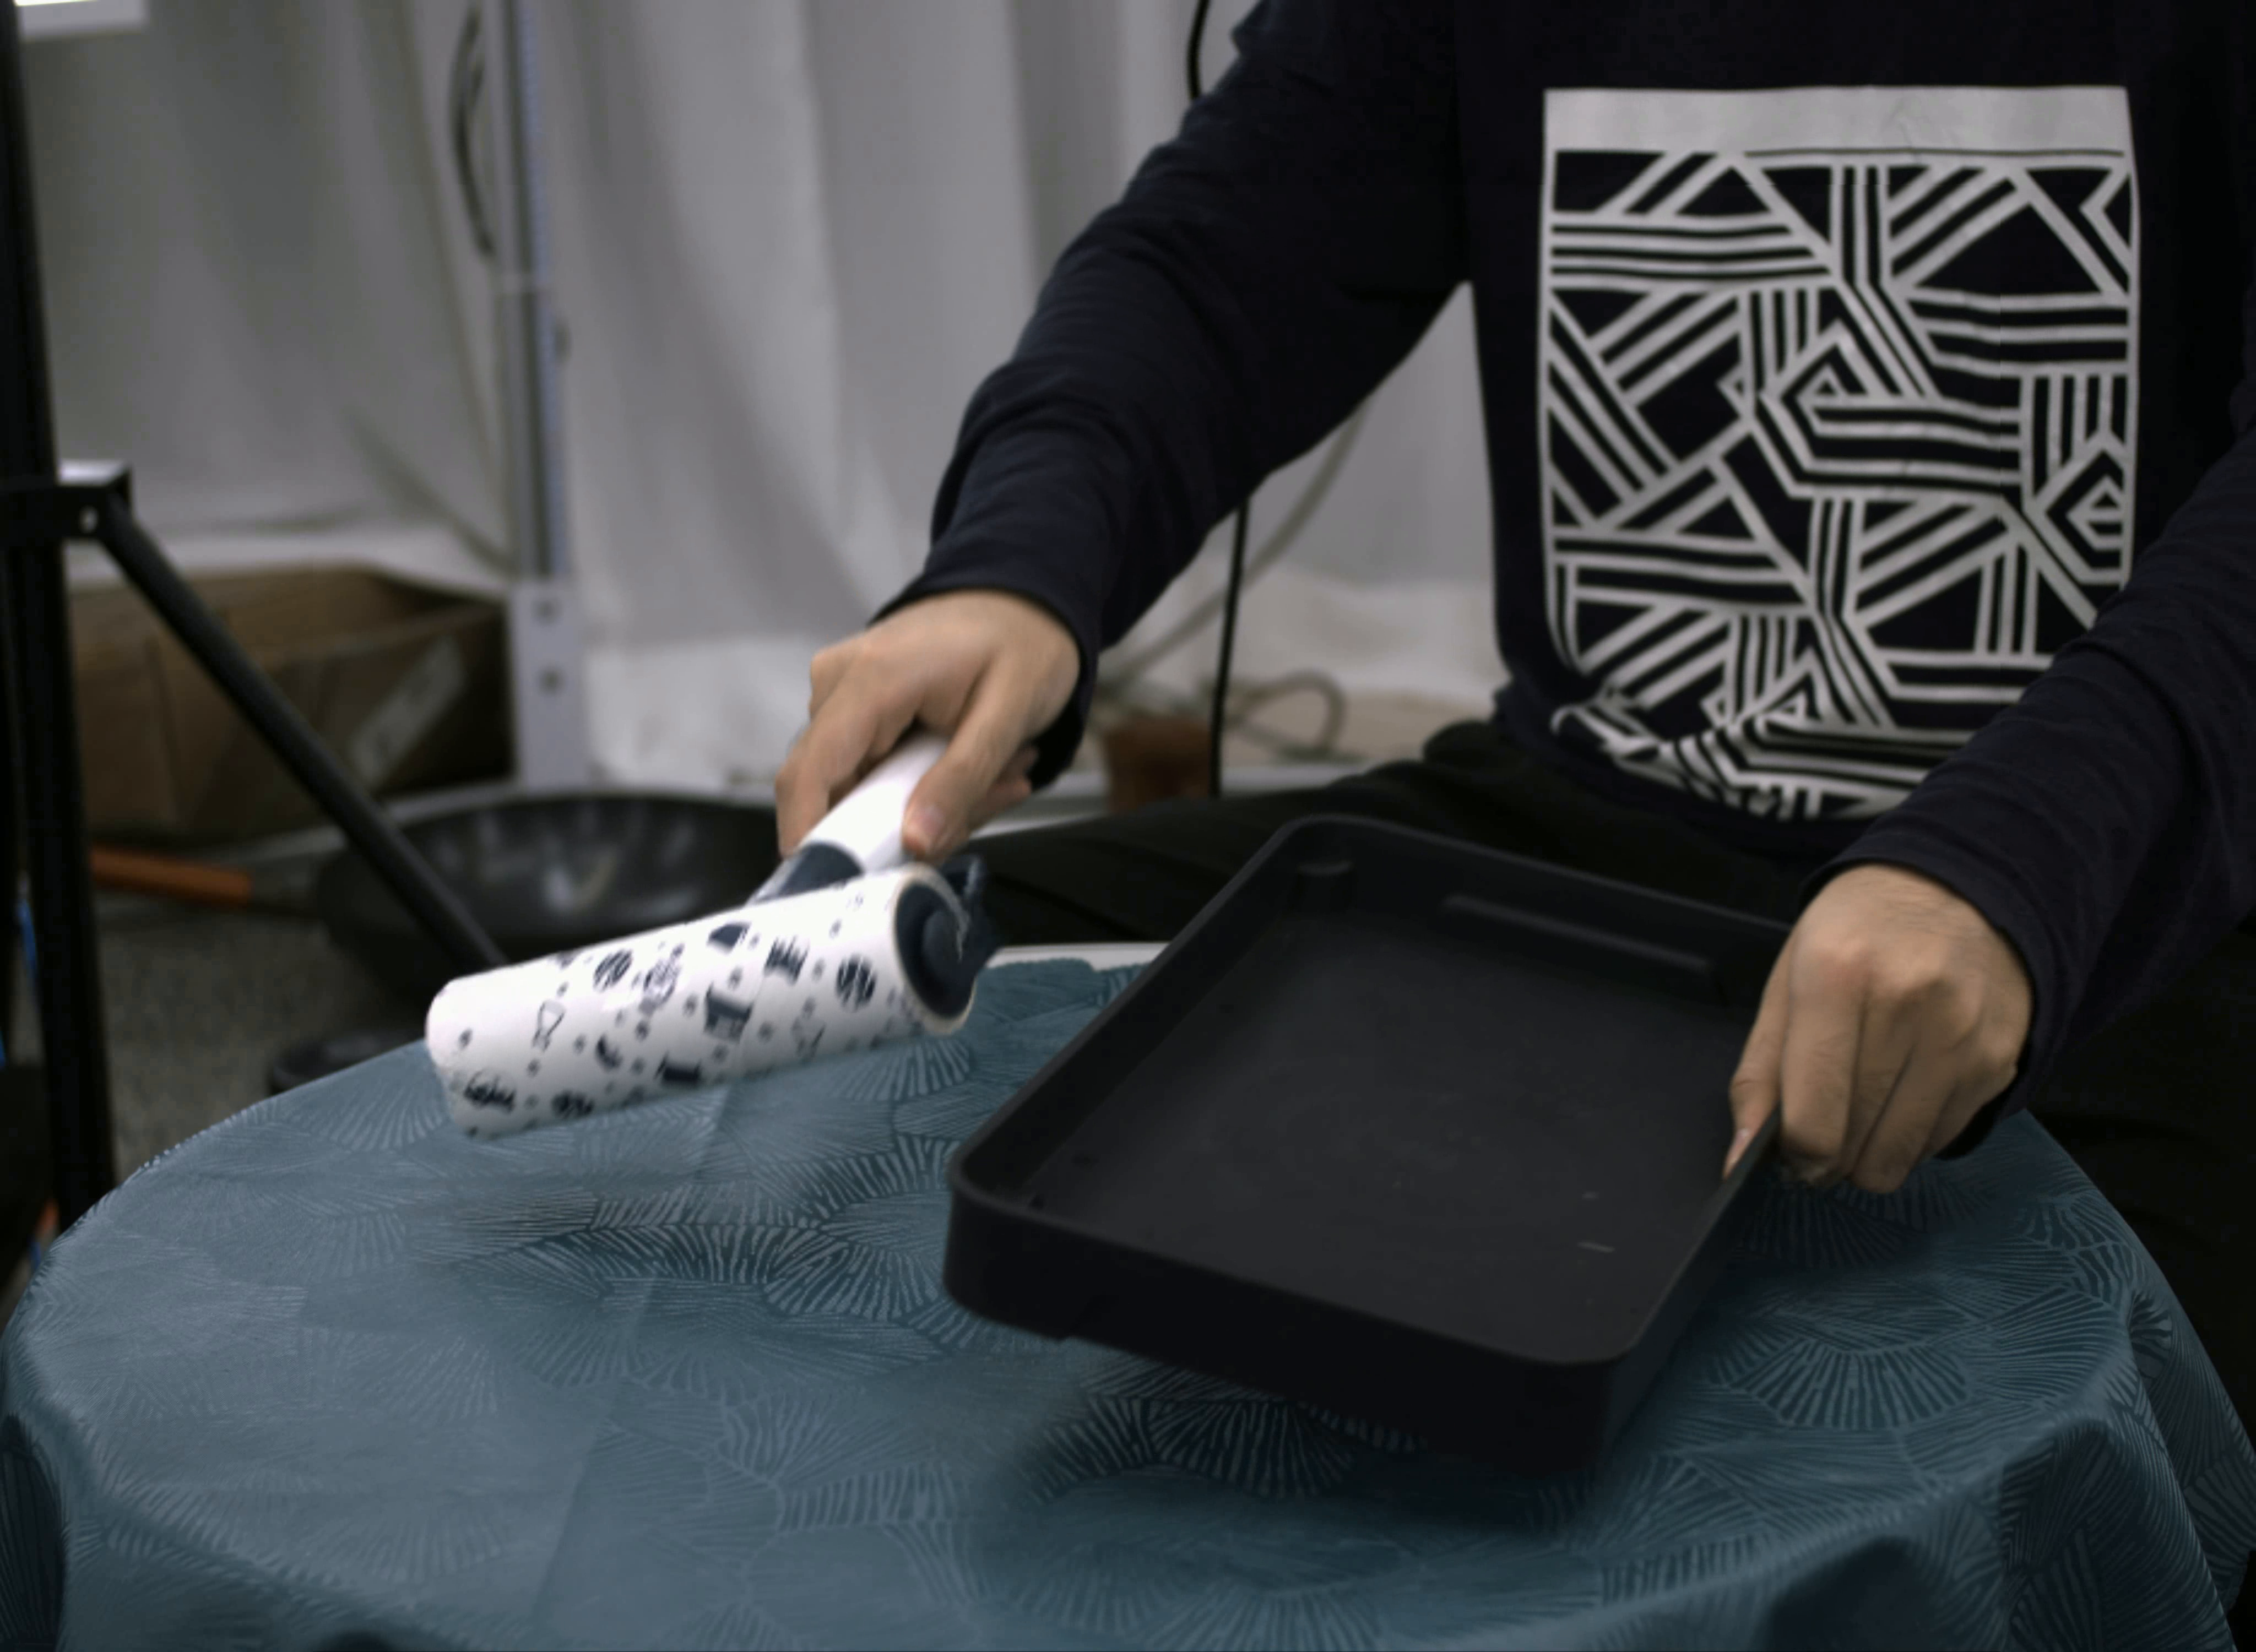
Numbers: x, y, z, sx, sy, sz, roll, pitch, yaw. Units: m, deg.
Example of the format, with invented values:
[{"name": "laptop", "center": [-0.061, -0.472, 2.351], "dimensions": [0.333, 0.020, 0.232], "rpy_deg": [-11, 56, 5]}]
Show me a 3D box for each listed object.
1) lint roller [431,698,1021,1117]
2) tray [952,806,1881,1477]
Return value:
[{"name": "lint roller", "center": [-0.088, 0.007, 1.610], "dimensions": [0.178, 0.050, 0.245], "rpy_deg": [-16, 16, 27]}, {"name": "tray", "center": [0.086, 0.077, 1.446], "dimensions": [0.186, 0.037, 0.314], "rpy_deg": [15, 23, 16]}]
